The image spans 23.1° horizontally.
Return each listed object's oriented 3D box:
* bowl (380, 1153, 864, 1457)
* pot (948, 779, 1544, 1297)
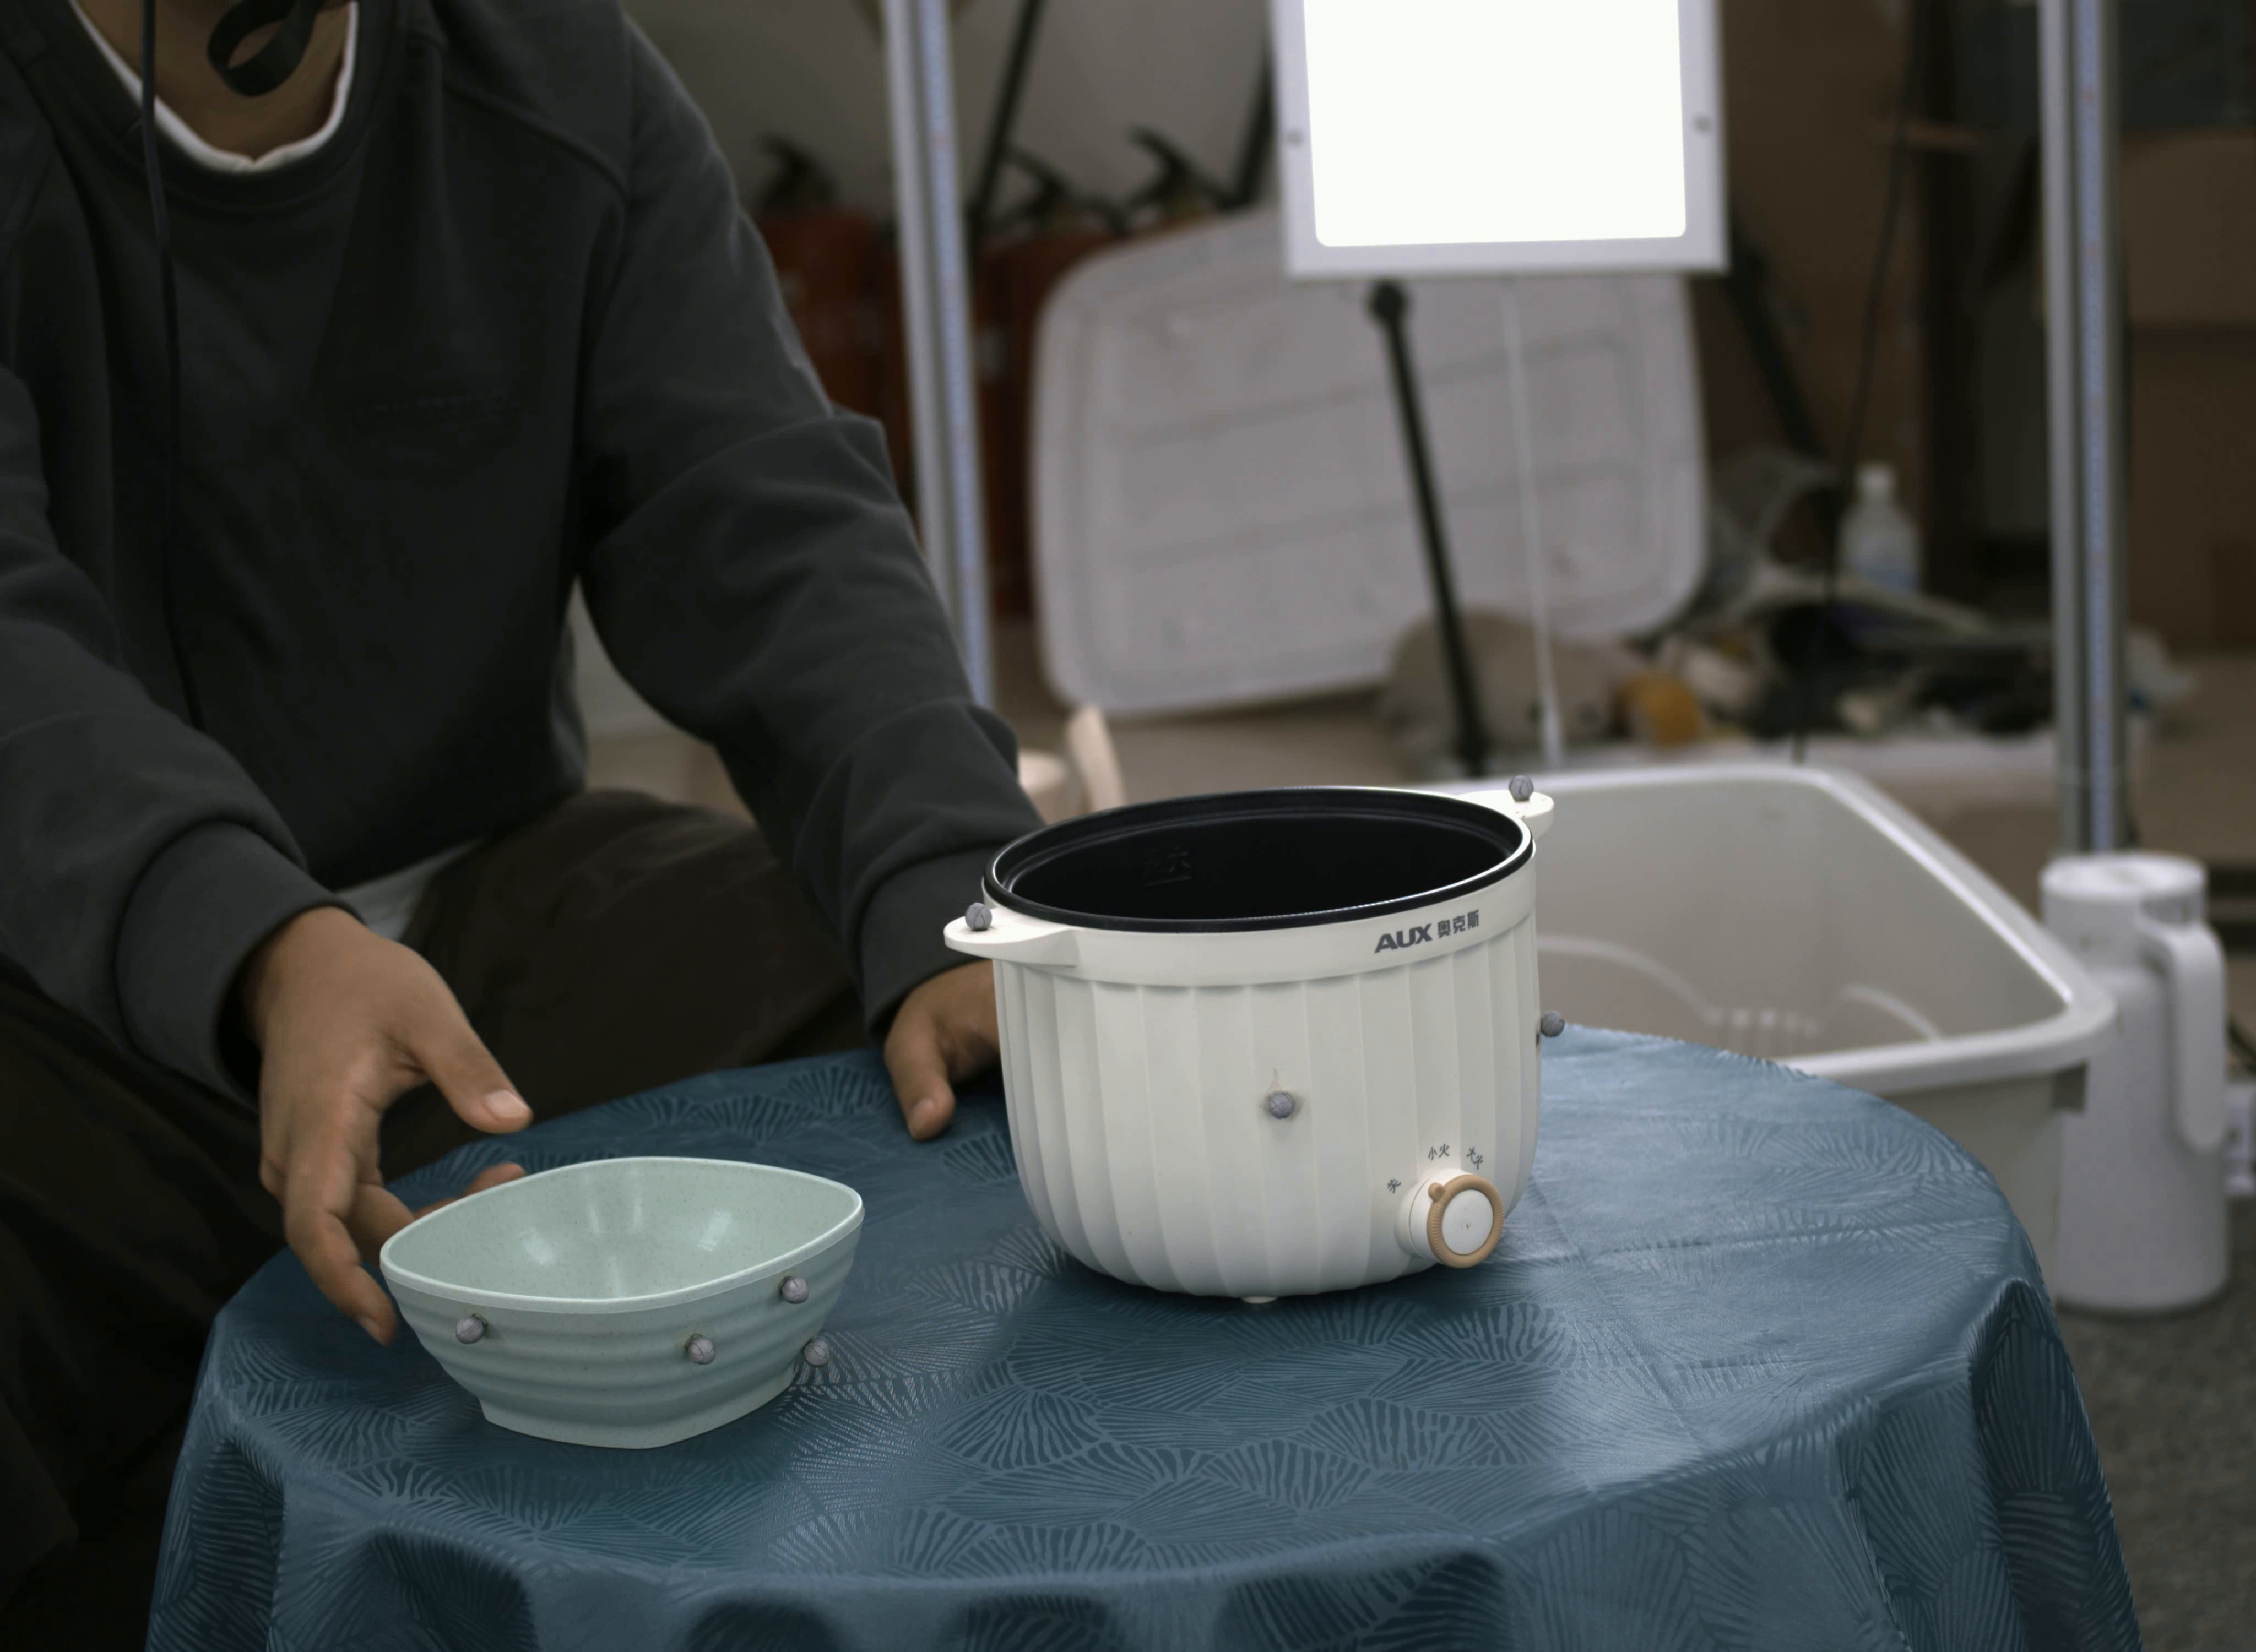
[{"bbox_3d":[-0.156,0.153,1.726,0.151,0.059,0.151,-4,15,0],"label":"bowl"},{"bbox_3d":[0.052,0.071,1.810,0.234,0.143,0.194,-16,14,-33],"label":"pot"}]
